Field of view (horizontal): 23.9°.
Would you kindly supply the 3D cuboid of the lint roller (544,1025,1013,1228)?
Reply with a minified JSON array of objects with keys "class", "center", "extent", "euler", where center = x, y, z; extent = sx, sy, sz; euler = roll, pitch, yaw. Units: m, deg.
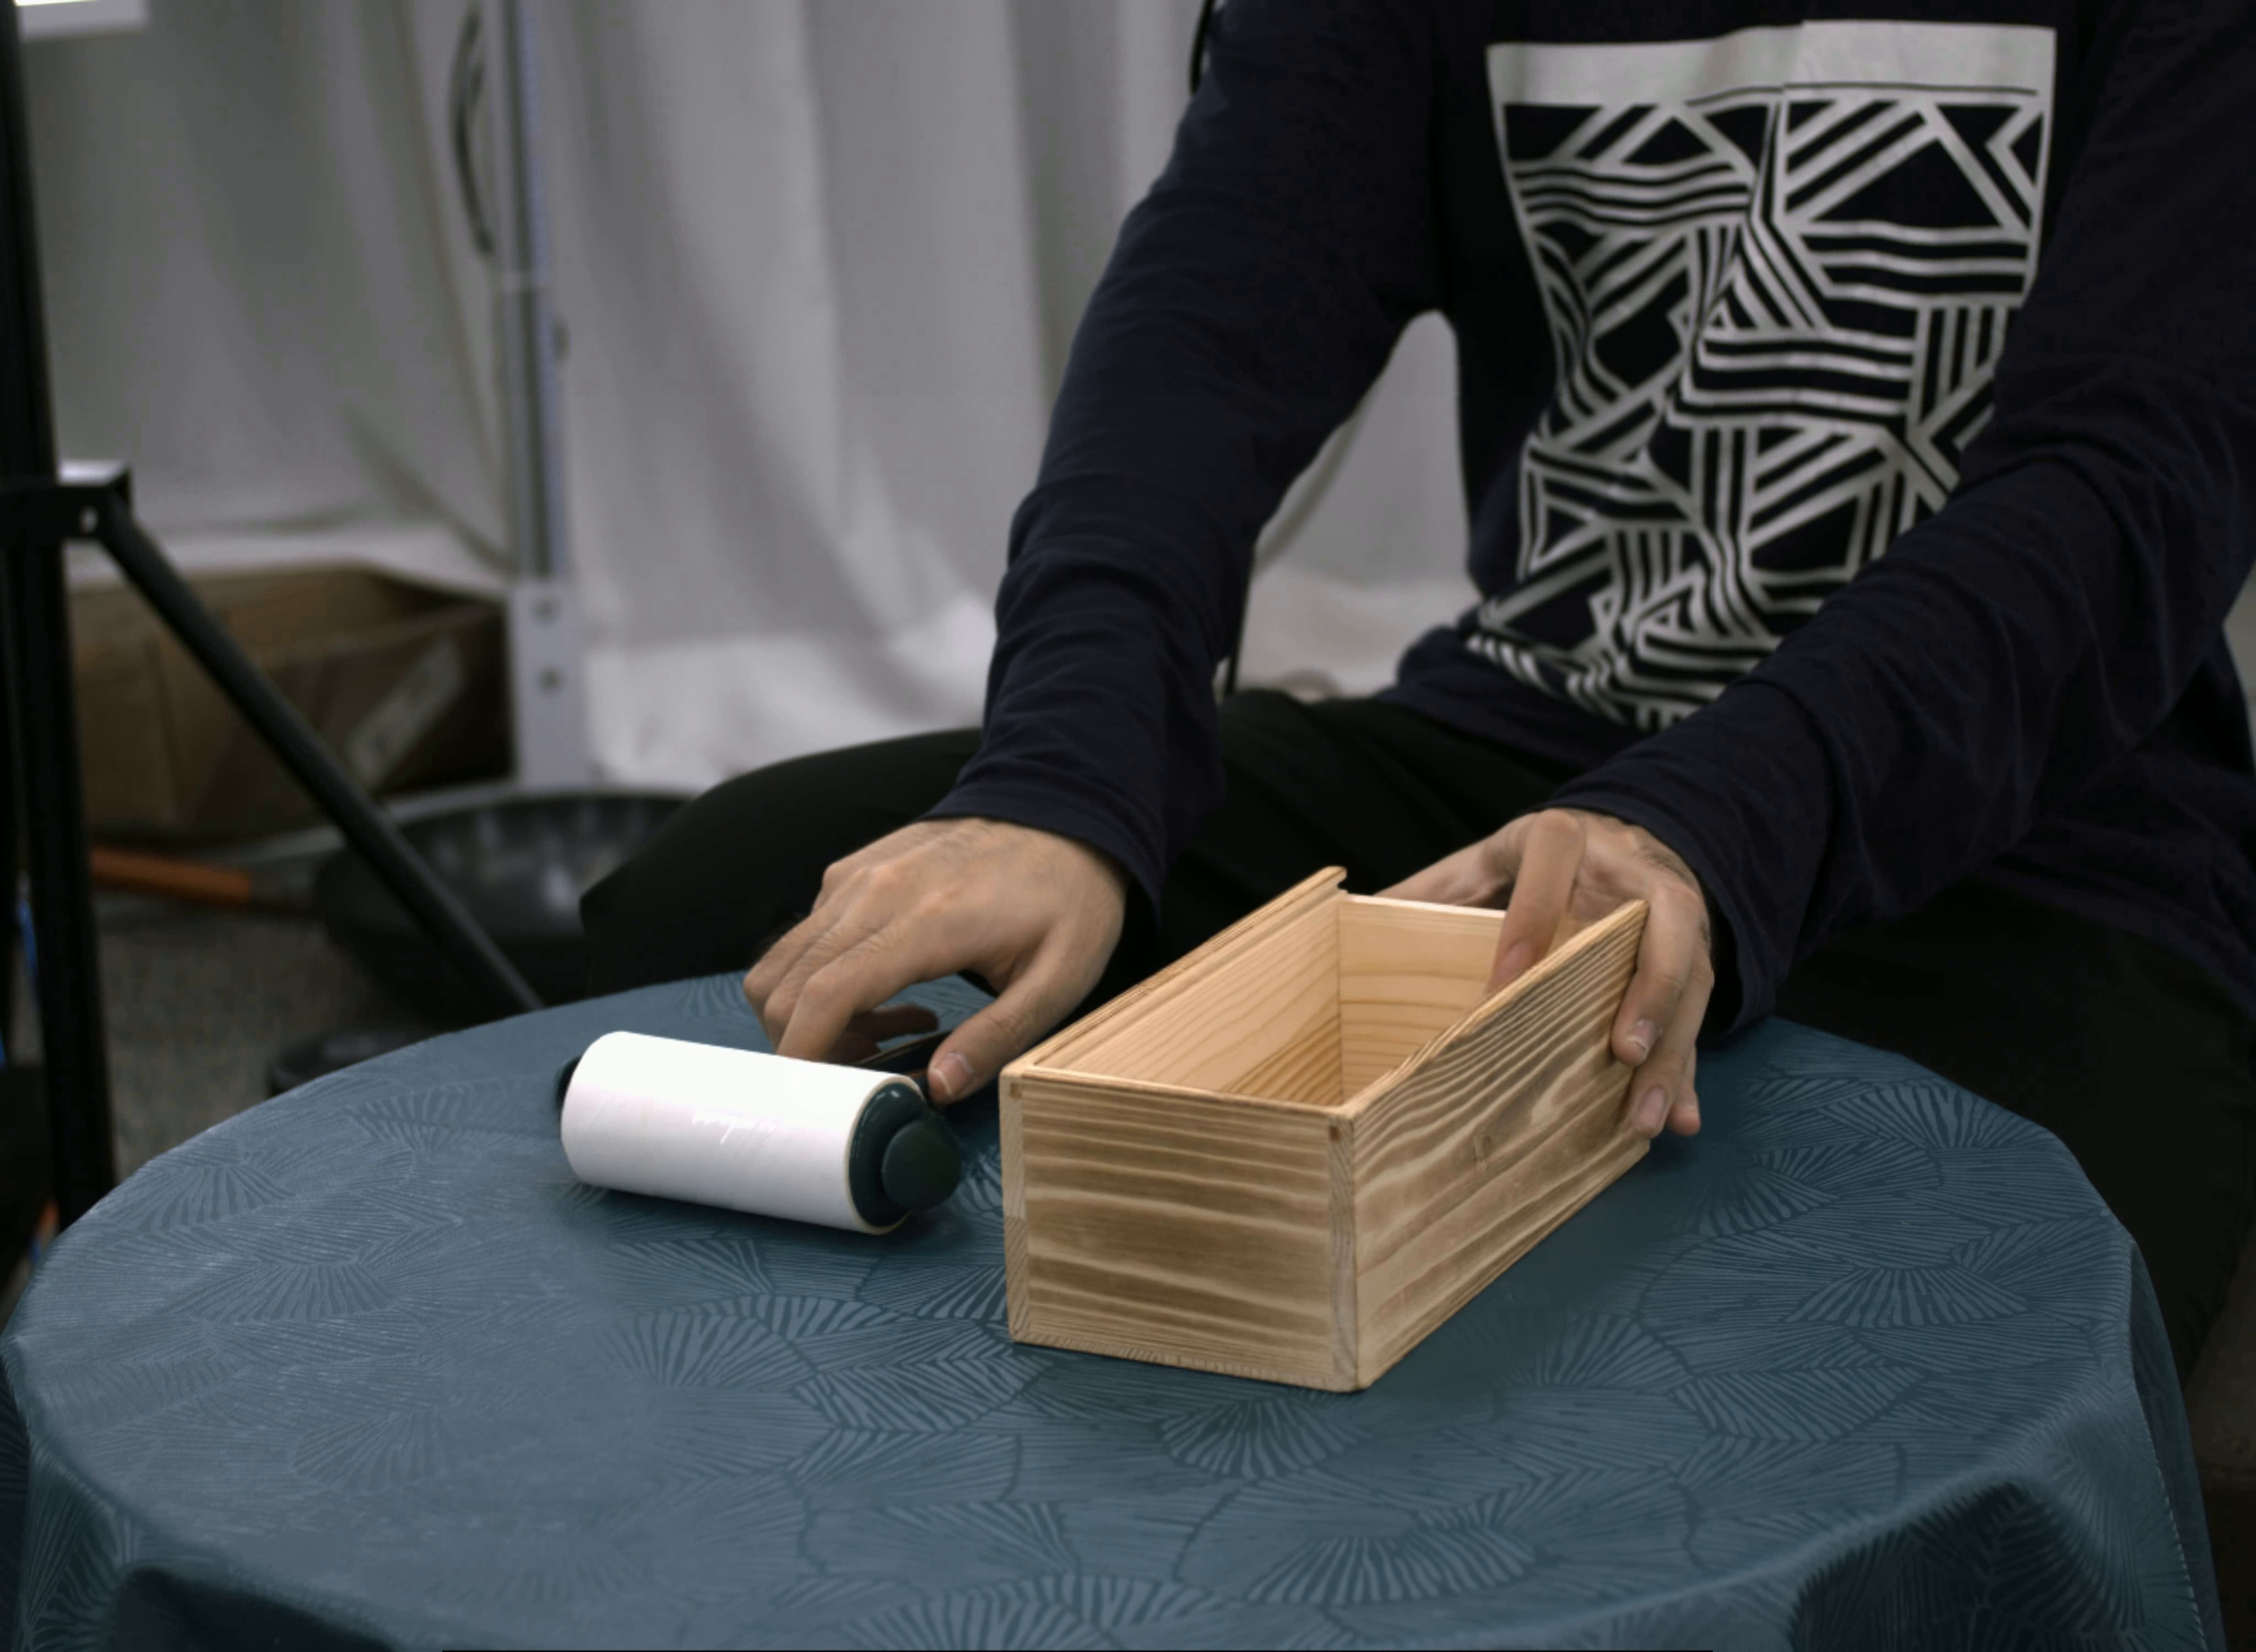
[{"class":"lint roller","center":[-0.079,0.077,1.614],"extent":[0.137,0.048,0.176],"euler":[7,13,30]}]

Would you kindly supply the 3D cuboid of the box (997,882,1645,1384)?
[{"class":"box","center":[0.059,0.082,1.499],"extent":[0.109,0.080,0.208],"euler":[5,15,27]}]
